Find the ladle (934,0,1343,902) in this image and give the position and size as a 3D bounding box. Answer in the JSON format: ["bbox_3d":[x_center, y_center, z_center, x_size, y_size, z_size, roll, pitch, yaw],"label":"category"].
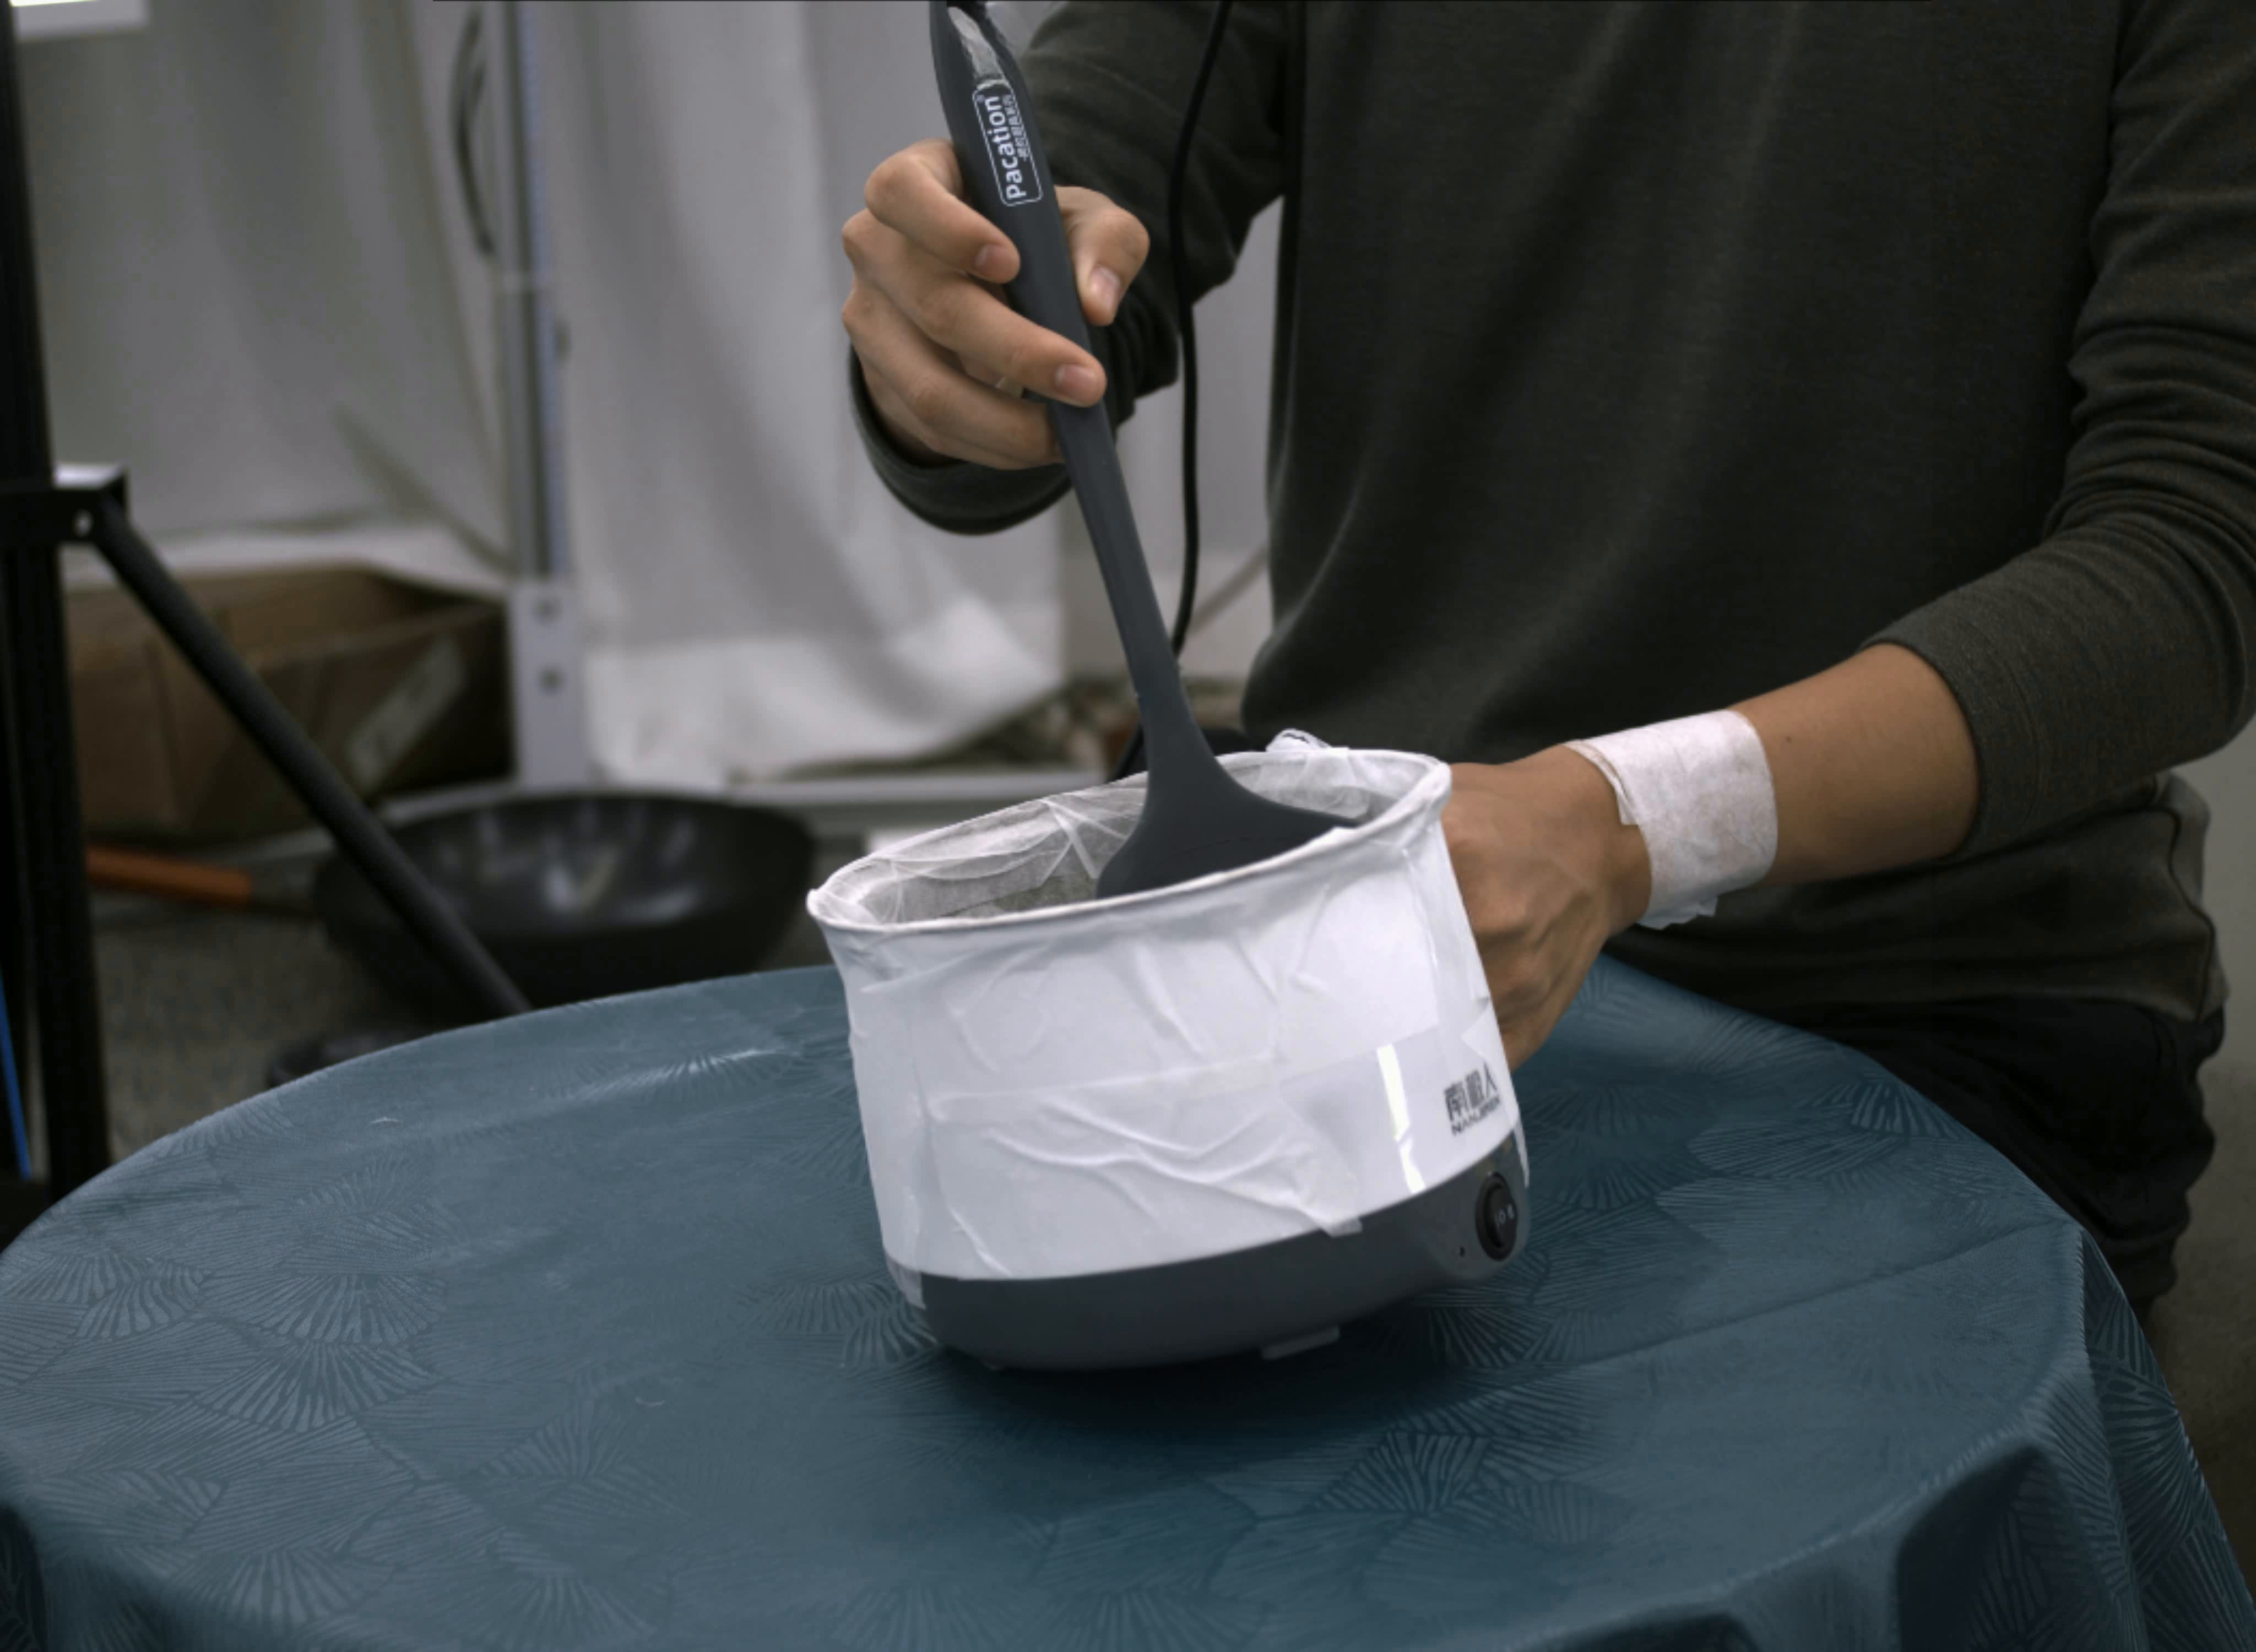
[{"bbox_3d":[-0.001,-0.100,1.462,0.085,0.317,0.064,-11,-15,-18],"label":"ladle"}]

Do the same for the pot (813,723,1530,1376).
[{"bbox_3d":[0.026,0.056,1.456,0.181,0.136,0.230,-5,12,30],"label":"pot"}]
